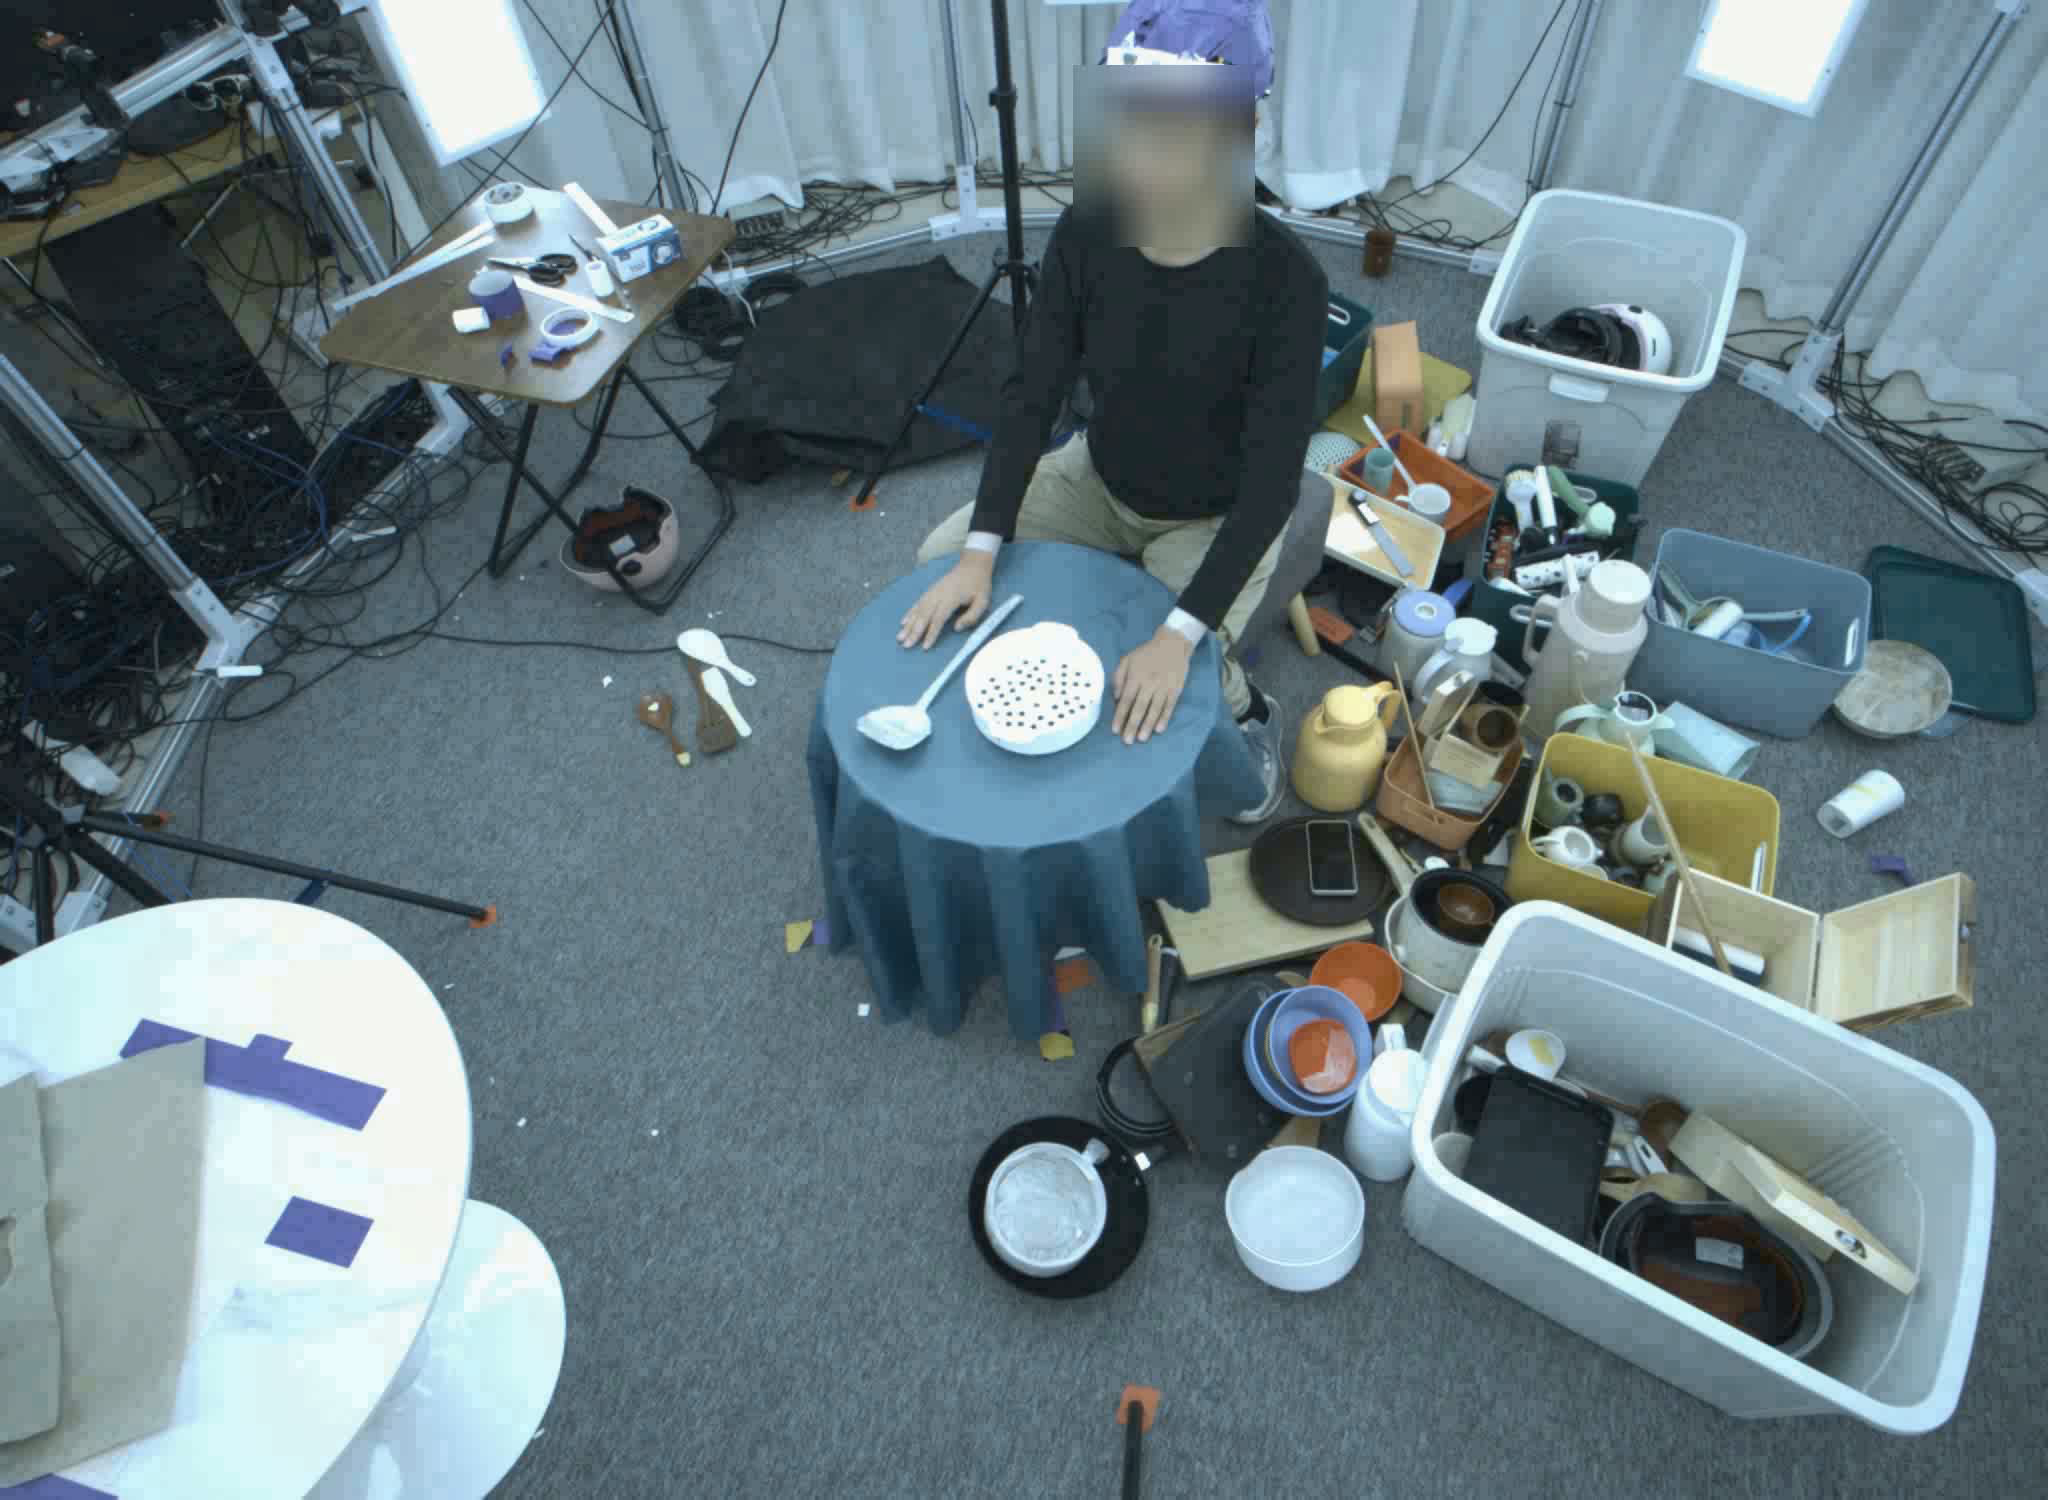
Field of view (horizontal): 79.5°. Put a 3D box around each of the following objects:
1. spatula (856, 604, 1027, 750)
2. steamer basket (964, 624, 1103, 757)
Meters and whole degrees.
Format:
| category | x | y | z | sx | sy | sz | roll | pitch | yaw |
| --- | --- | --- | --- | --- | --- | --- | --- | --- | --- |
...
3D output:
| category | x | y | z | sx | sy | sz | roll | pitch | yaw |
| --- | --- | --- | --- | --- | --- | --- | --- | --- | --- |
| spatula | -0.110 | -0.125 | 1.857 | 0.097 | 0.045 | 0.366 | 27 | 60 | 22 |
| steamer basket | 0.015 | -0.082 | 1.802 | 0.200 | 0.070 | 0.230 | 15 | 56 | 11 |
